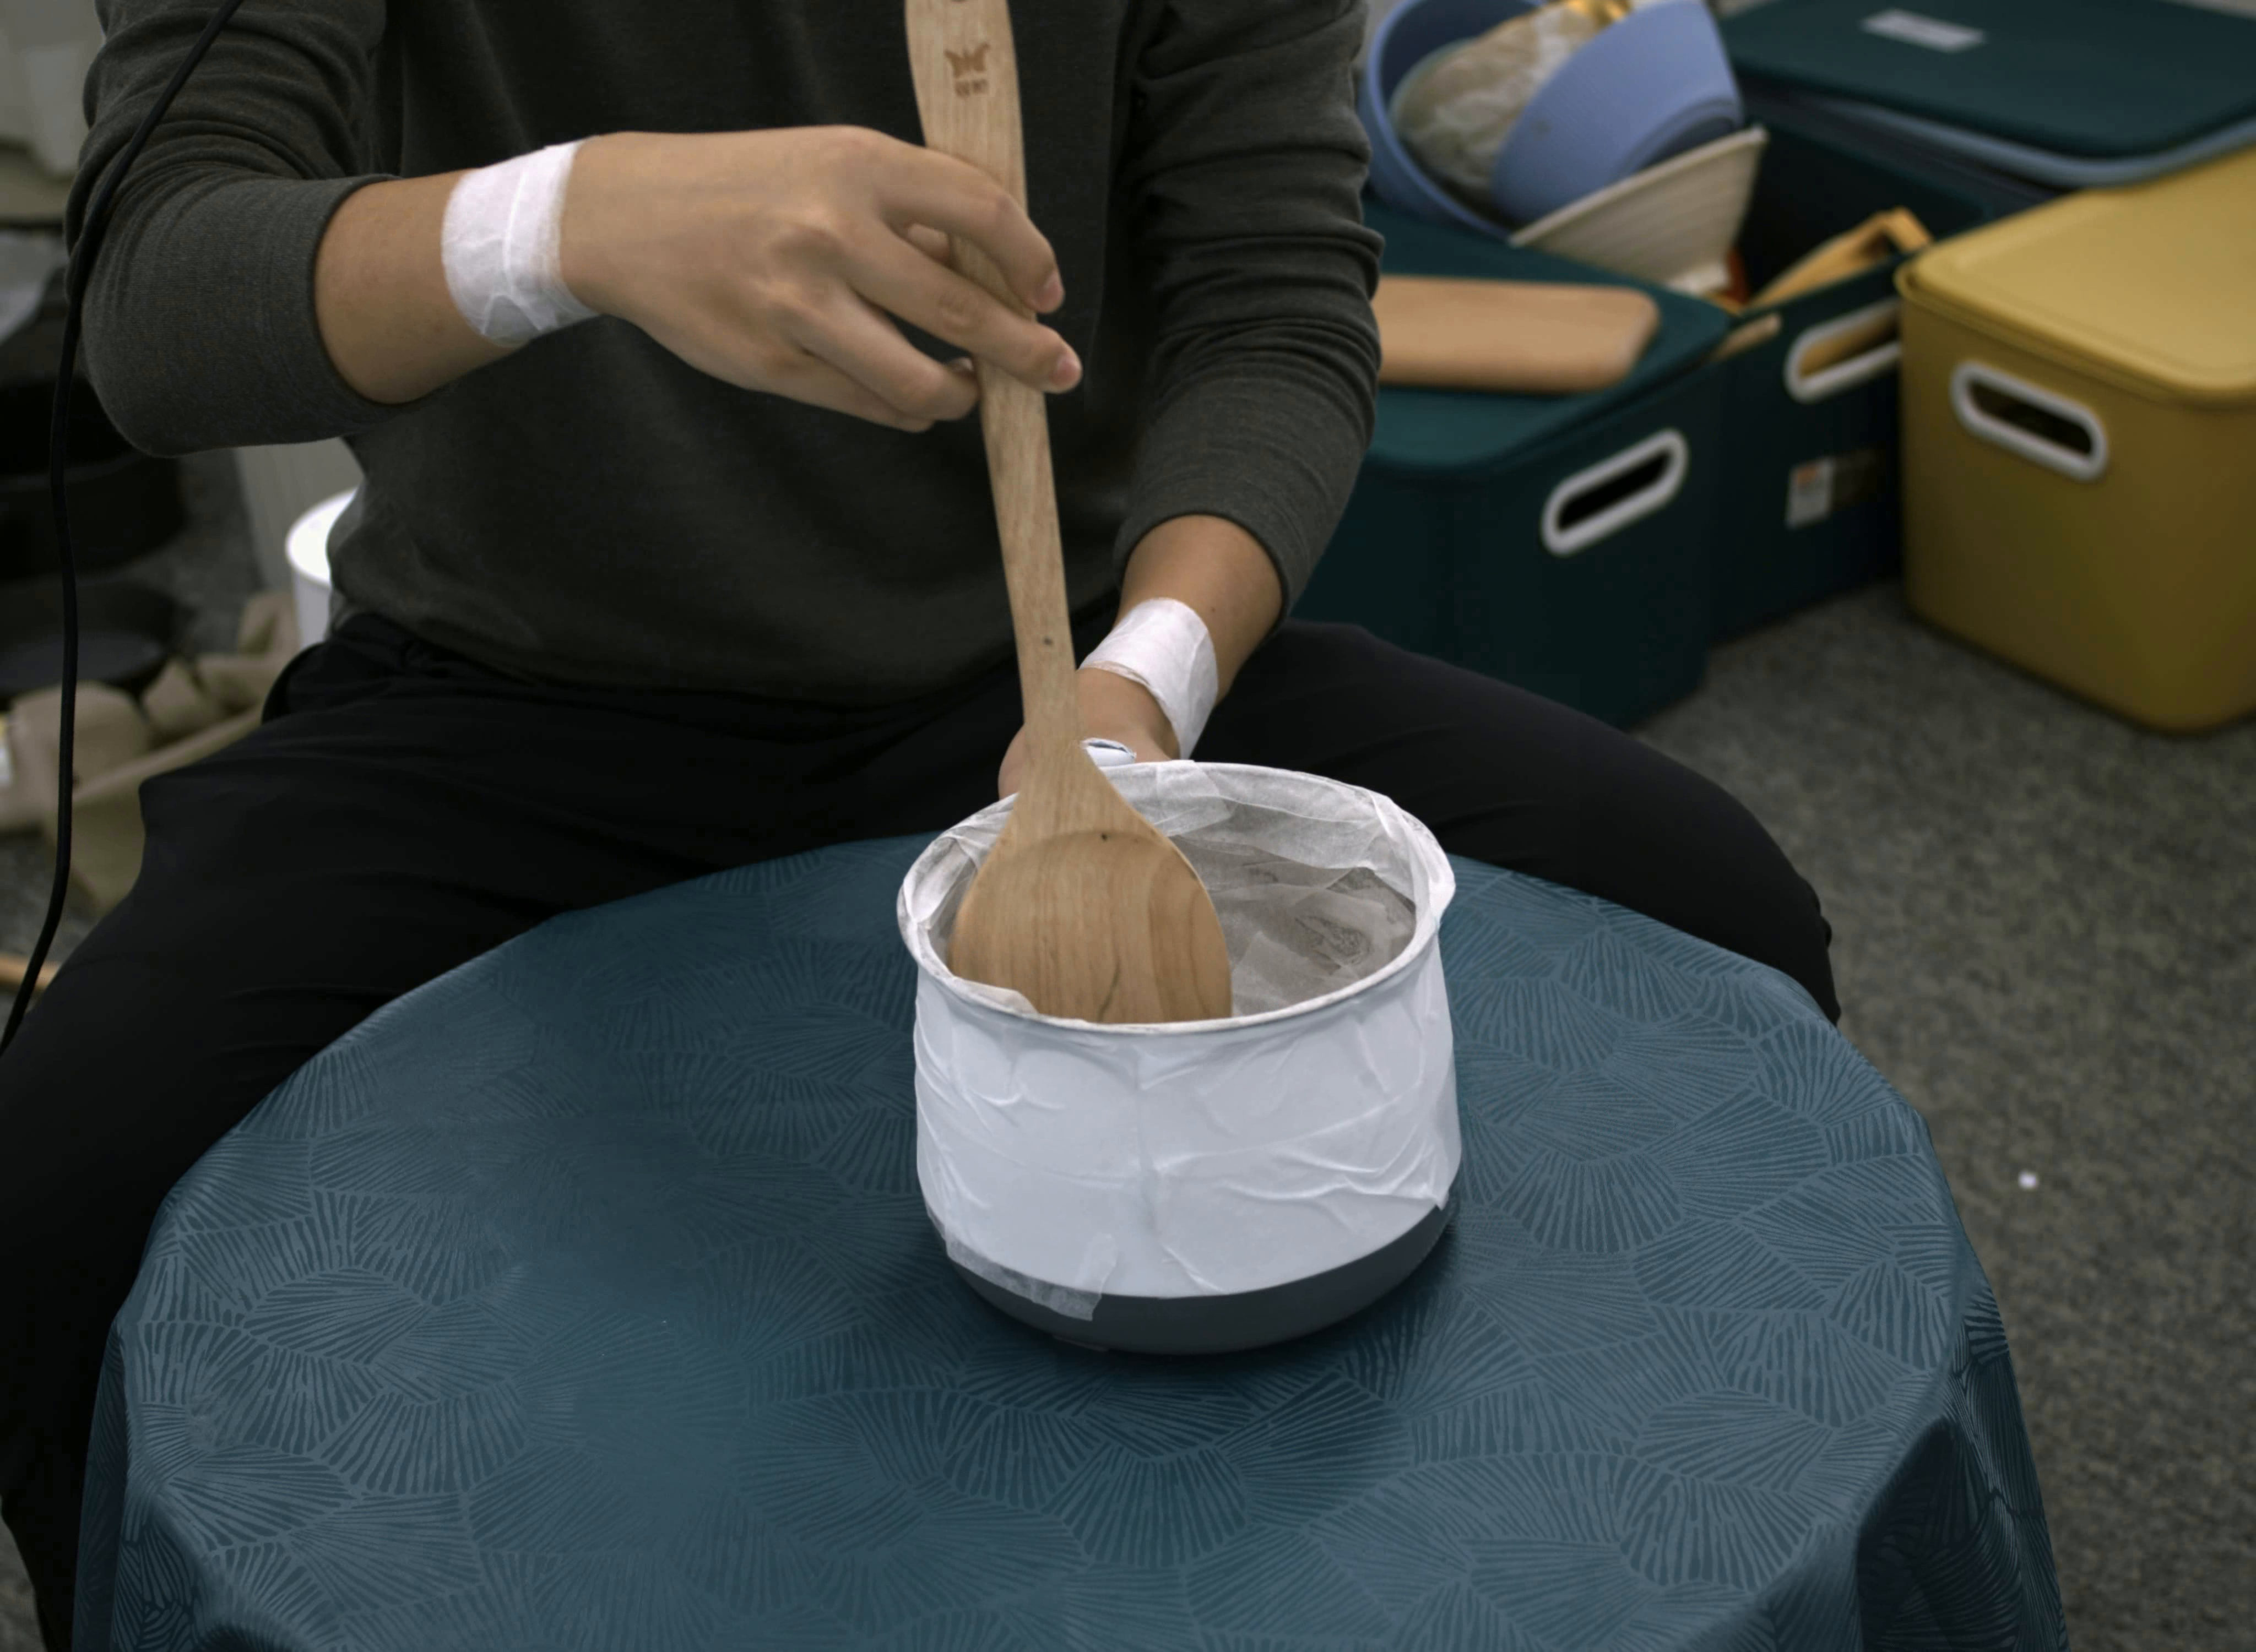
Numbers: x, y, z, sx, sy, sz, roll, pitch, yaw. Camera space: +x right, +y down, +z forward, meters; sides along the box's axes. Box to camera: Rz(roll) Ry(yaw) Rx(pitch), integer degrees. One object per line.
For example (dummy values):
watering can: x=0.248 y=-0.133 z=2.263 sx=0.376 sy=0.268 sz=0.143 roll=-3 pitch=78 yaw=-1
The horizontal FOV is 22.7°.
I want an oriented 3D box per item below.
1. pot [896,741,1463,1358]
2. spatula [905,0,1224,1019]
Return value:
pot: x=0.012 y=0.065 z=1.826 sx=0.178 sy=0.135 sz=0.236 roll=-9 pitch=27 yaw=-11
spatula: x=-0.035 y=-0.089 z=1.732 sx=0.096 sy=0.387 sz=0.018 roll=-13 pitch=23 yaw=-13
